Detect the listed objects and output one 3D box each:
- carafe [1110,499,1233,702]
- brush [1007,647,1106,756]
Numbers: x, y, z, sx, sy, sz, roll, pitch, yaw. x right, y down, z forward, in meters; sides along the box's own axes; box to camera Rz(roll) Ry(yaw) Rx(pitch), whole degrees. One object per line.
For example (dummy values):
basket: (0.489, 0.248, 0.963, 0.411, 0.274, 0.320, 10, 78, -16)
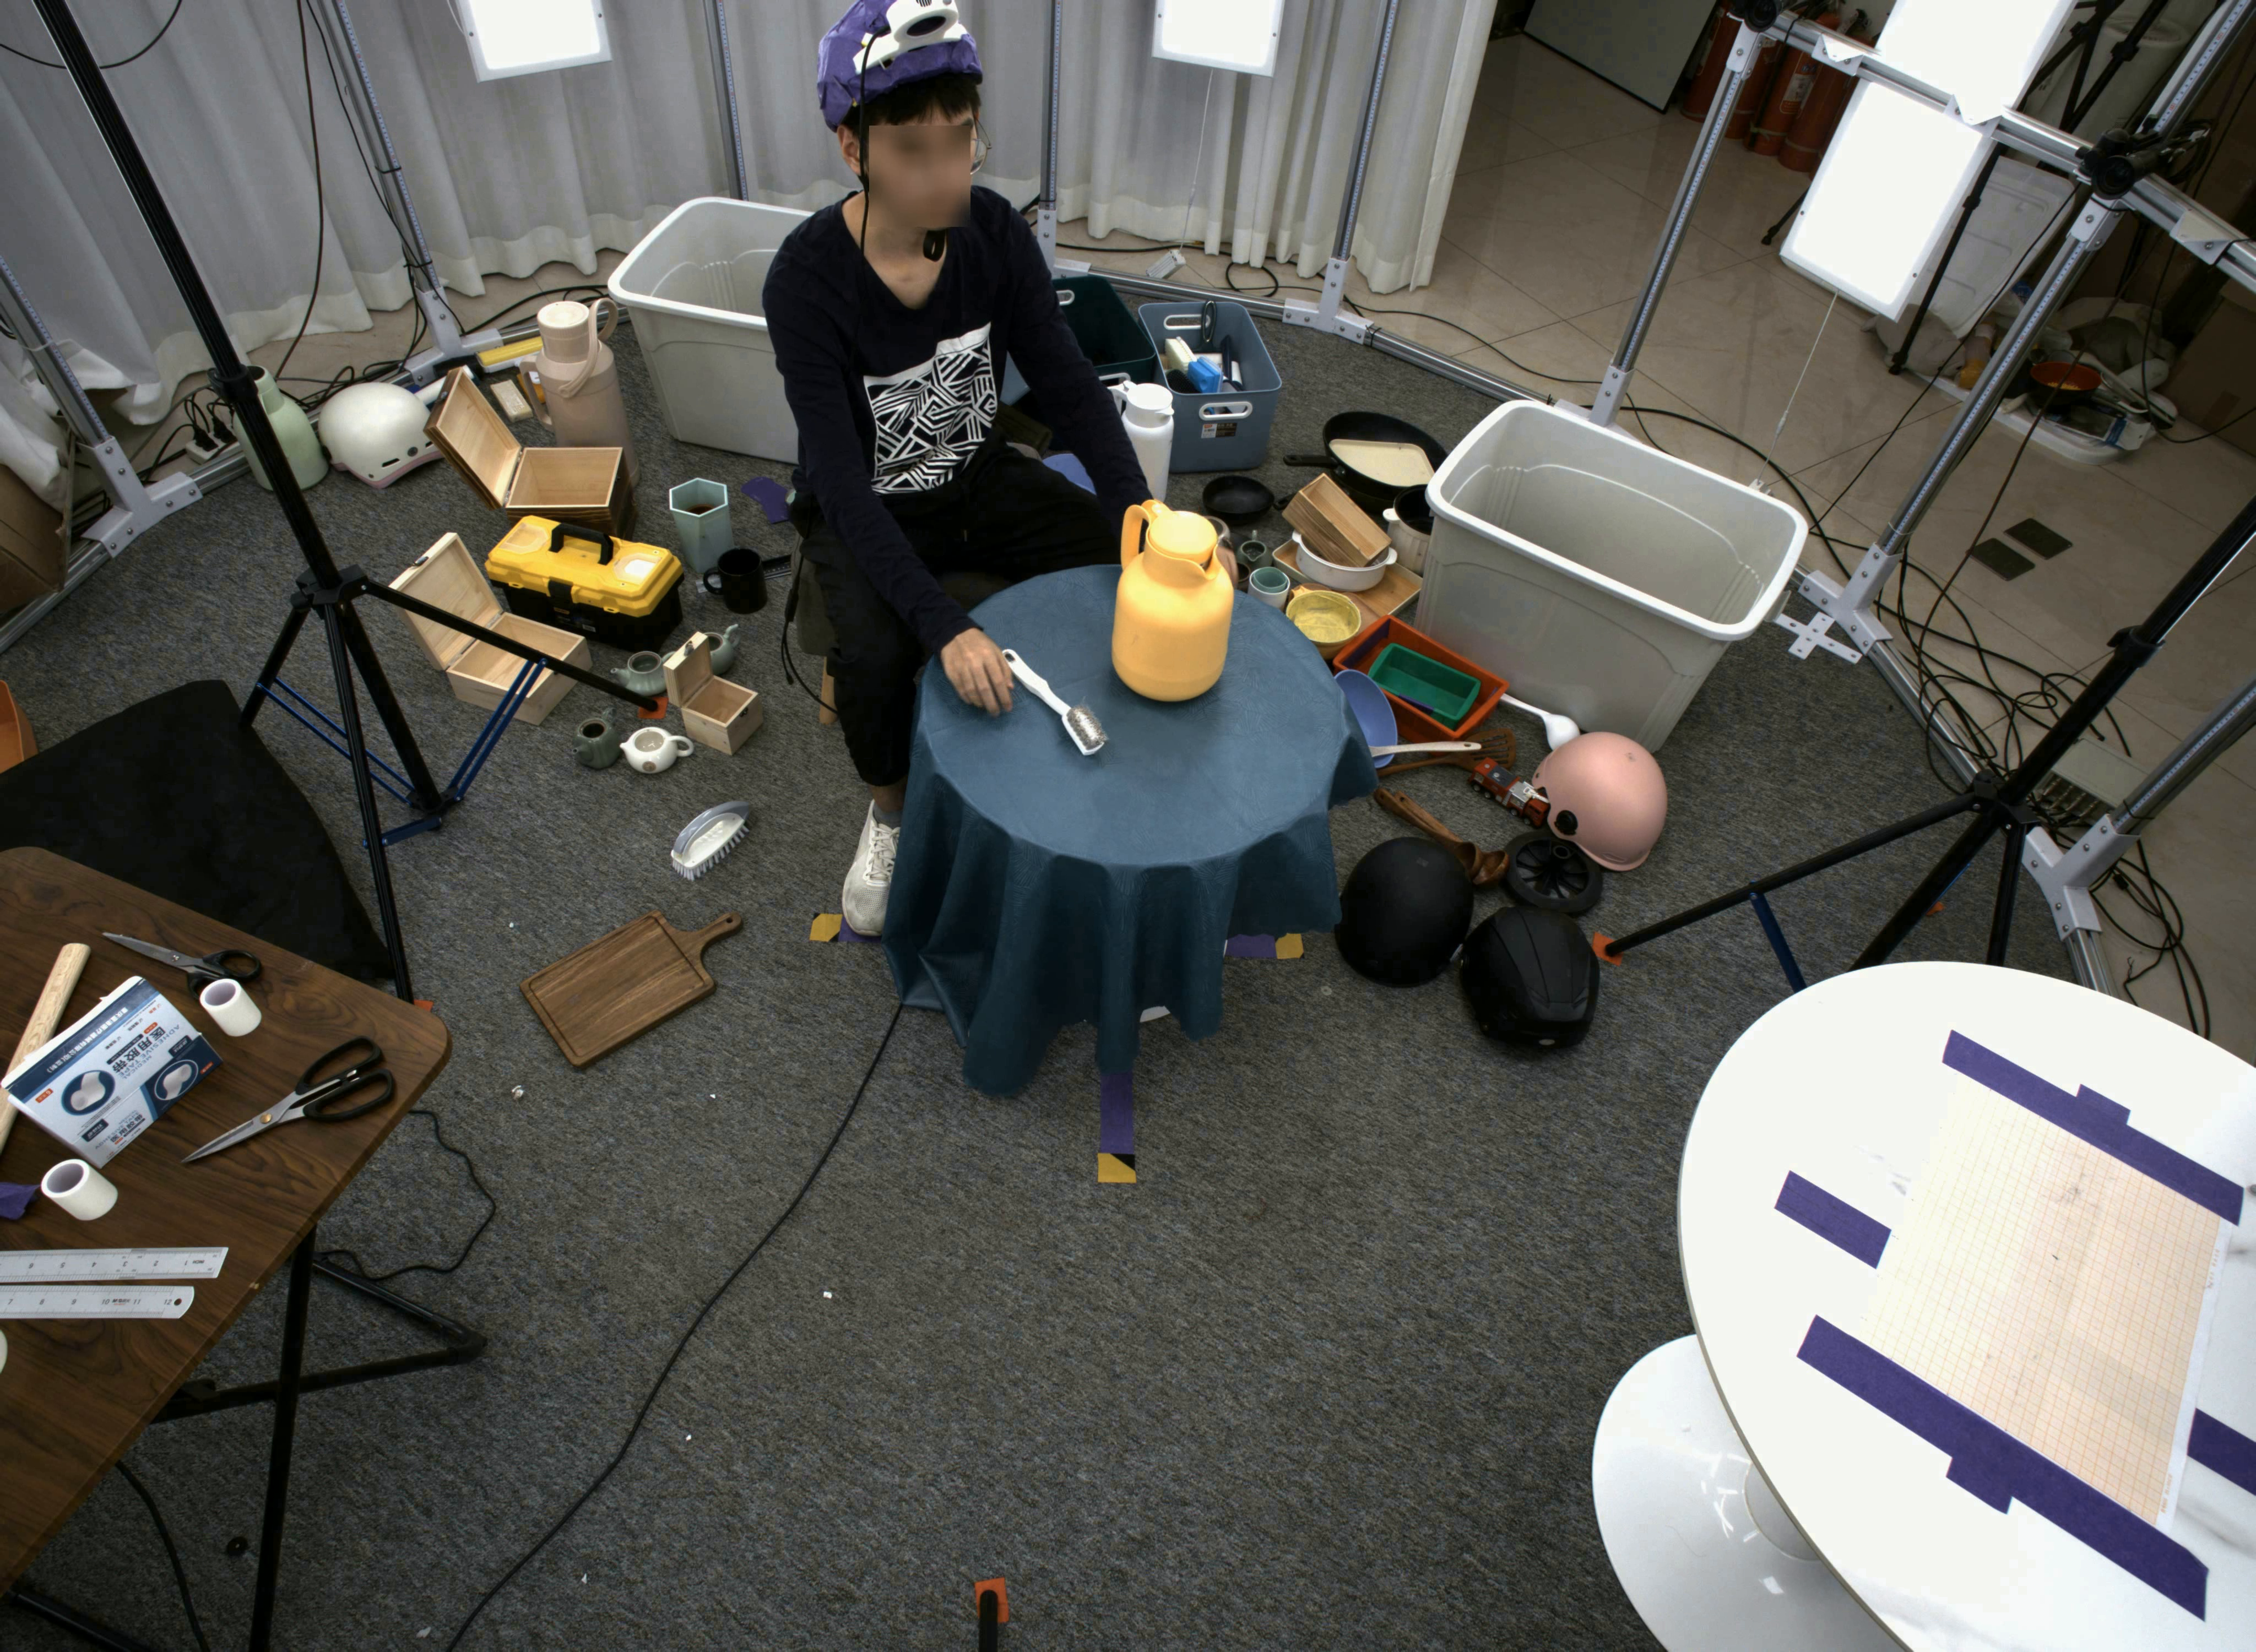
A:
carafe: (0.054, -0.320, 1.782, 0.164, 0.254, 0.206, -20, 54, -24)
brush: (-0.105, -0.187, 1.792, 0.034, 0.049, 0.249, -26, 55, -18)
